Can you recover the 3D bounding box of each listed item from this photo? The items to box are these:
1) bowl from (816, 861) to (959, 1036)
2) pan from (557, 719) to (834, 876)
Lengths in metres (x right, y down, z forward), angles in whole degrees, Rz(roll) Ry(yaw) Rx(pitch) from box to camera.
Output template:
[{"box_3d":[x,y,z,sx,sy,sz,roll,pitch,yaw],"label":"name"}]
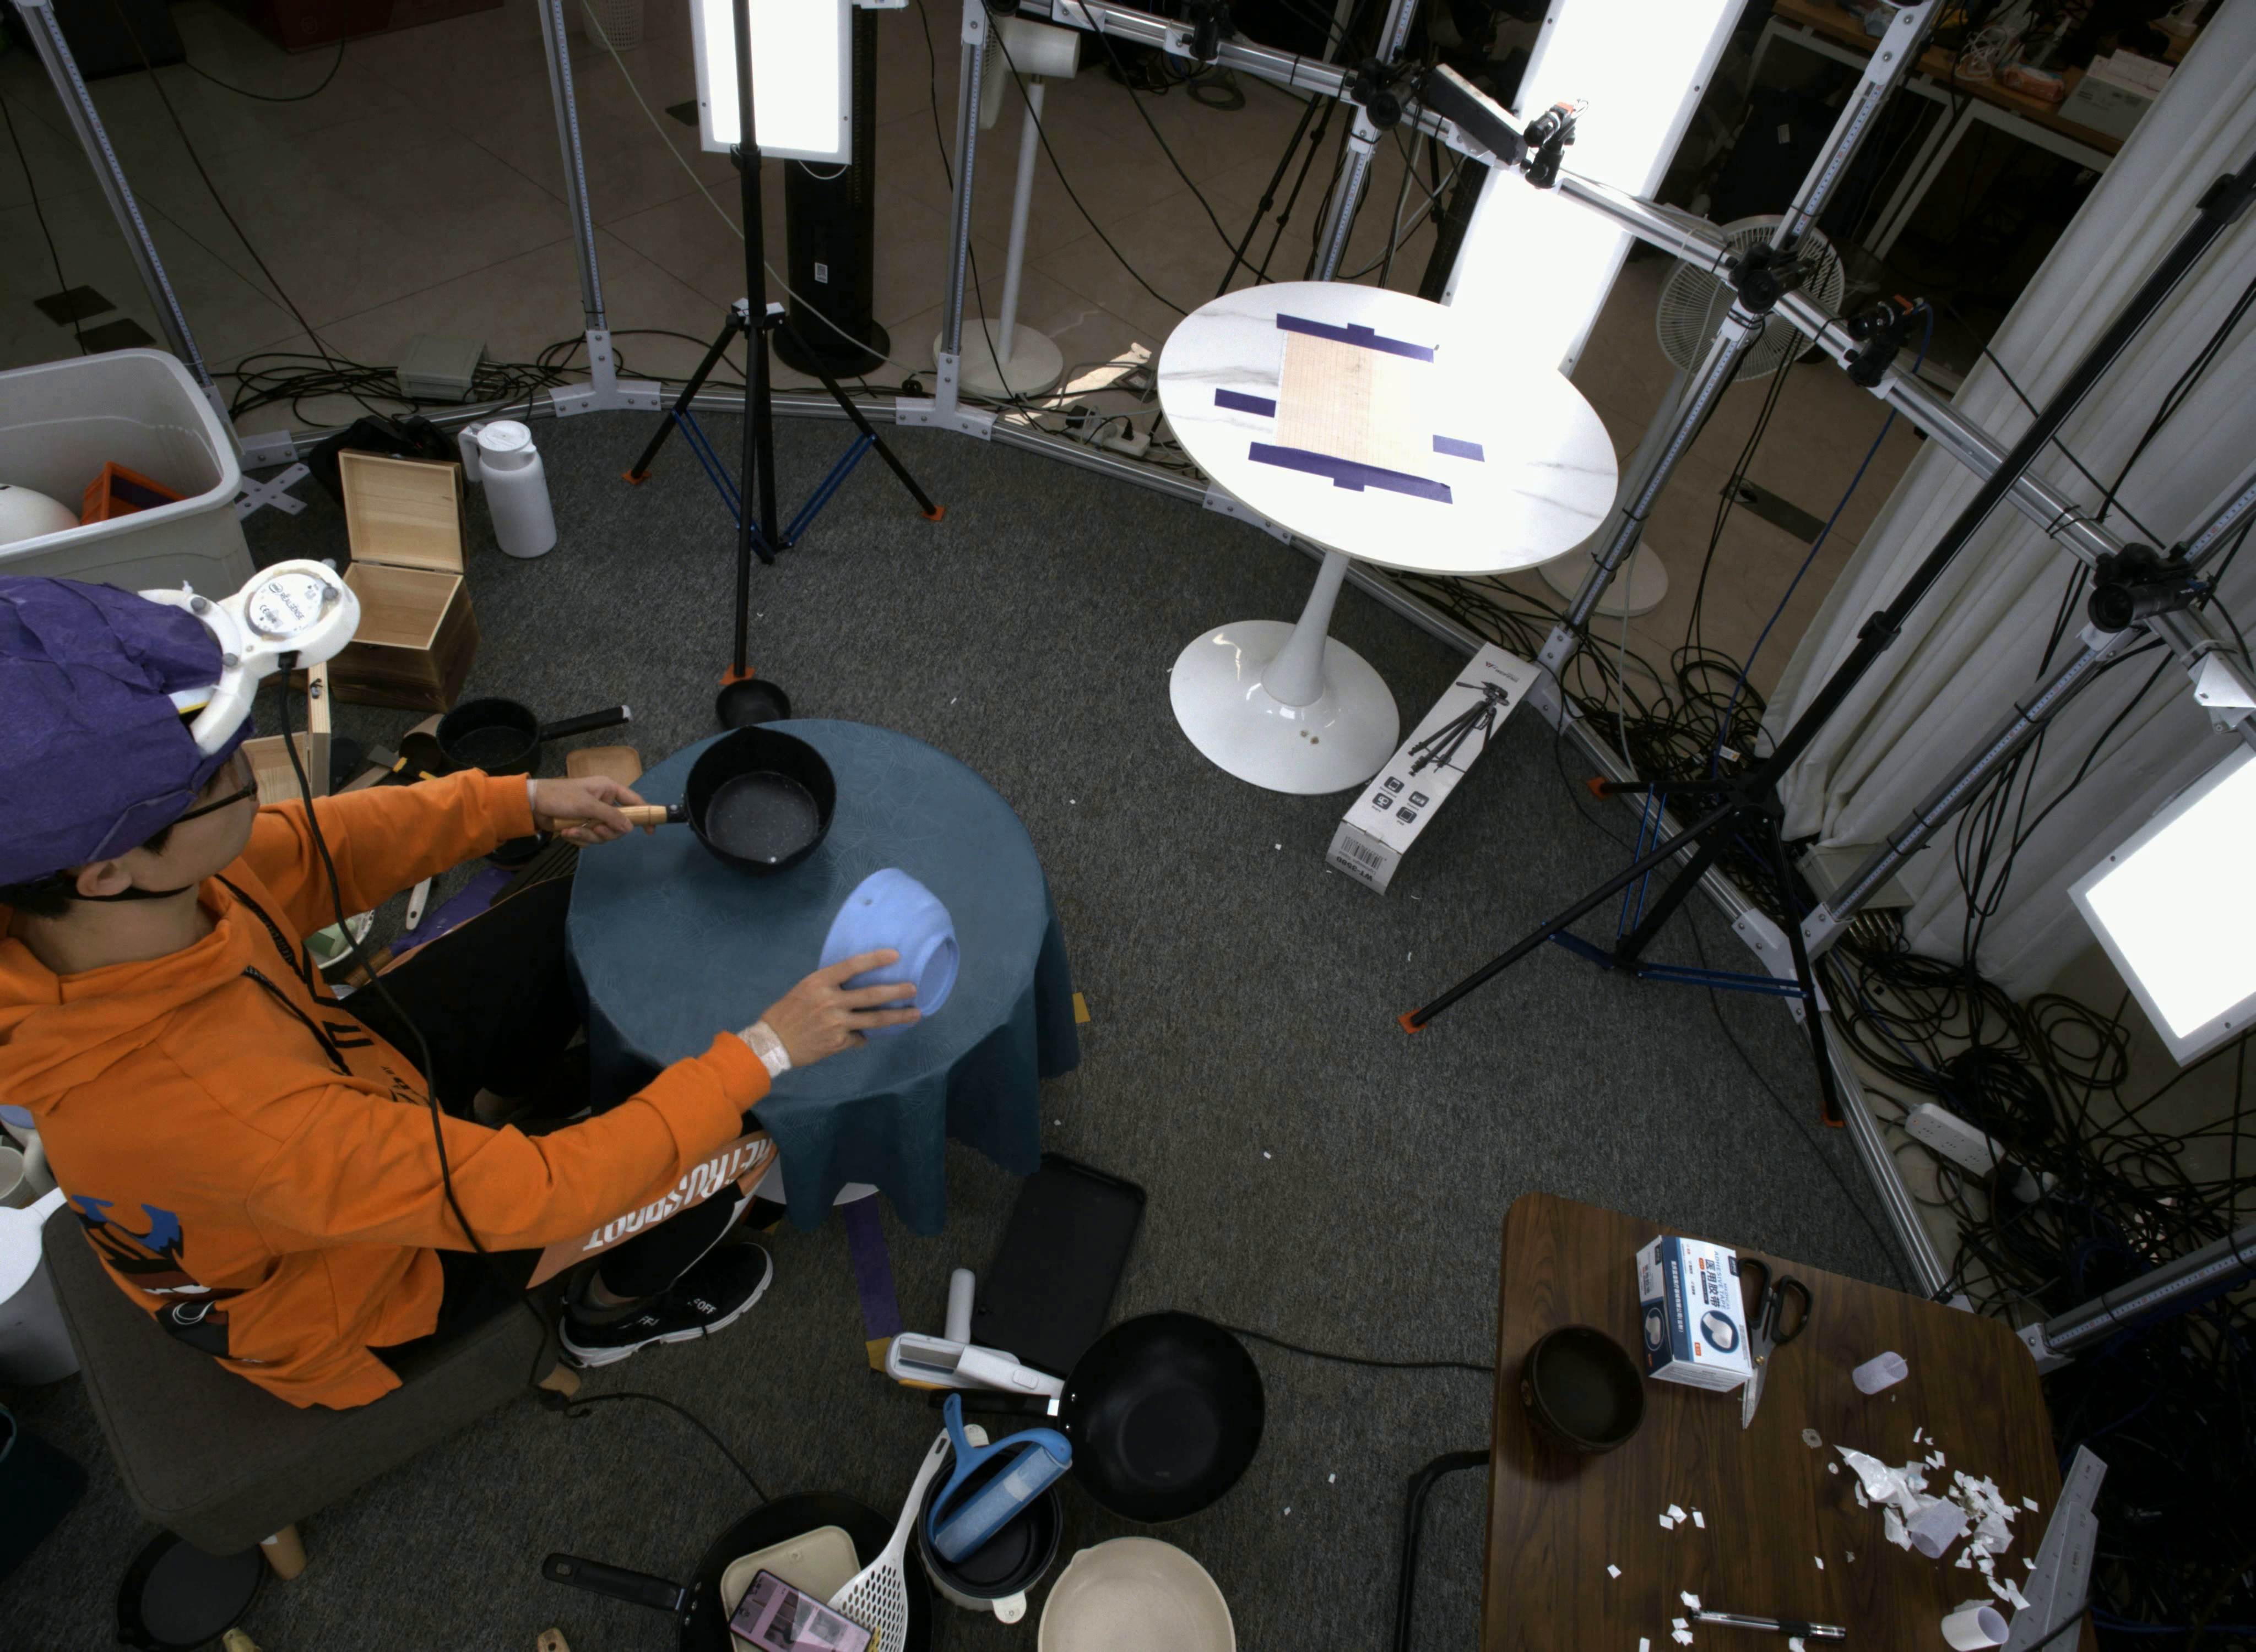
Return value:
[{"box_3d":[-0.250,0.147,1.433,0.093,0.202,0.195,21,50,14],"label":"bowl"},{"box_3d":[-0.536,-0.015,1.593,0.345,0.109,0.205,-11,70,-23],"label":"pan"}]
